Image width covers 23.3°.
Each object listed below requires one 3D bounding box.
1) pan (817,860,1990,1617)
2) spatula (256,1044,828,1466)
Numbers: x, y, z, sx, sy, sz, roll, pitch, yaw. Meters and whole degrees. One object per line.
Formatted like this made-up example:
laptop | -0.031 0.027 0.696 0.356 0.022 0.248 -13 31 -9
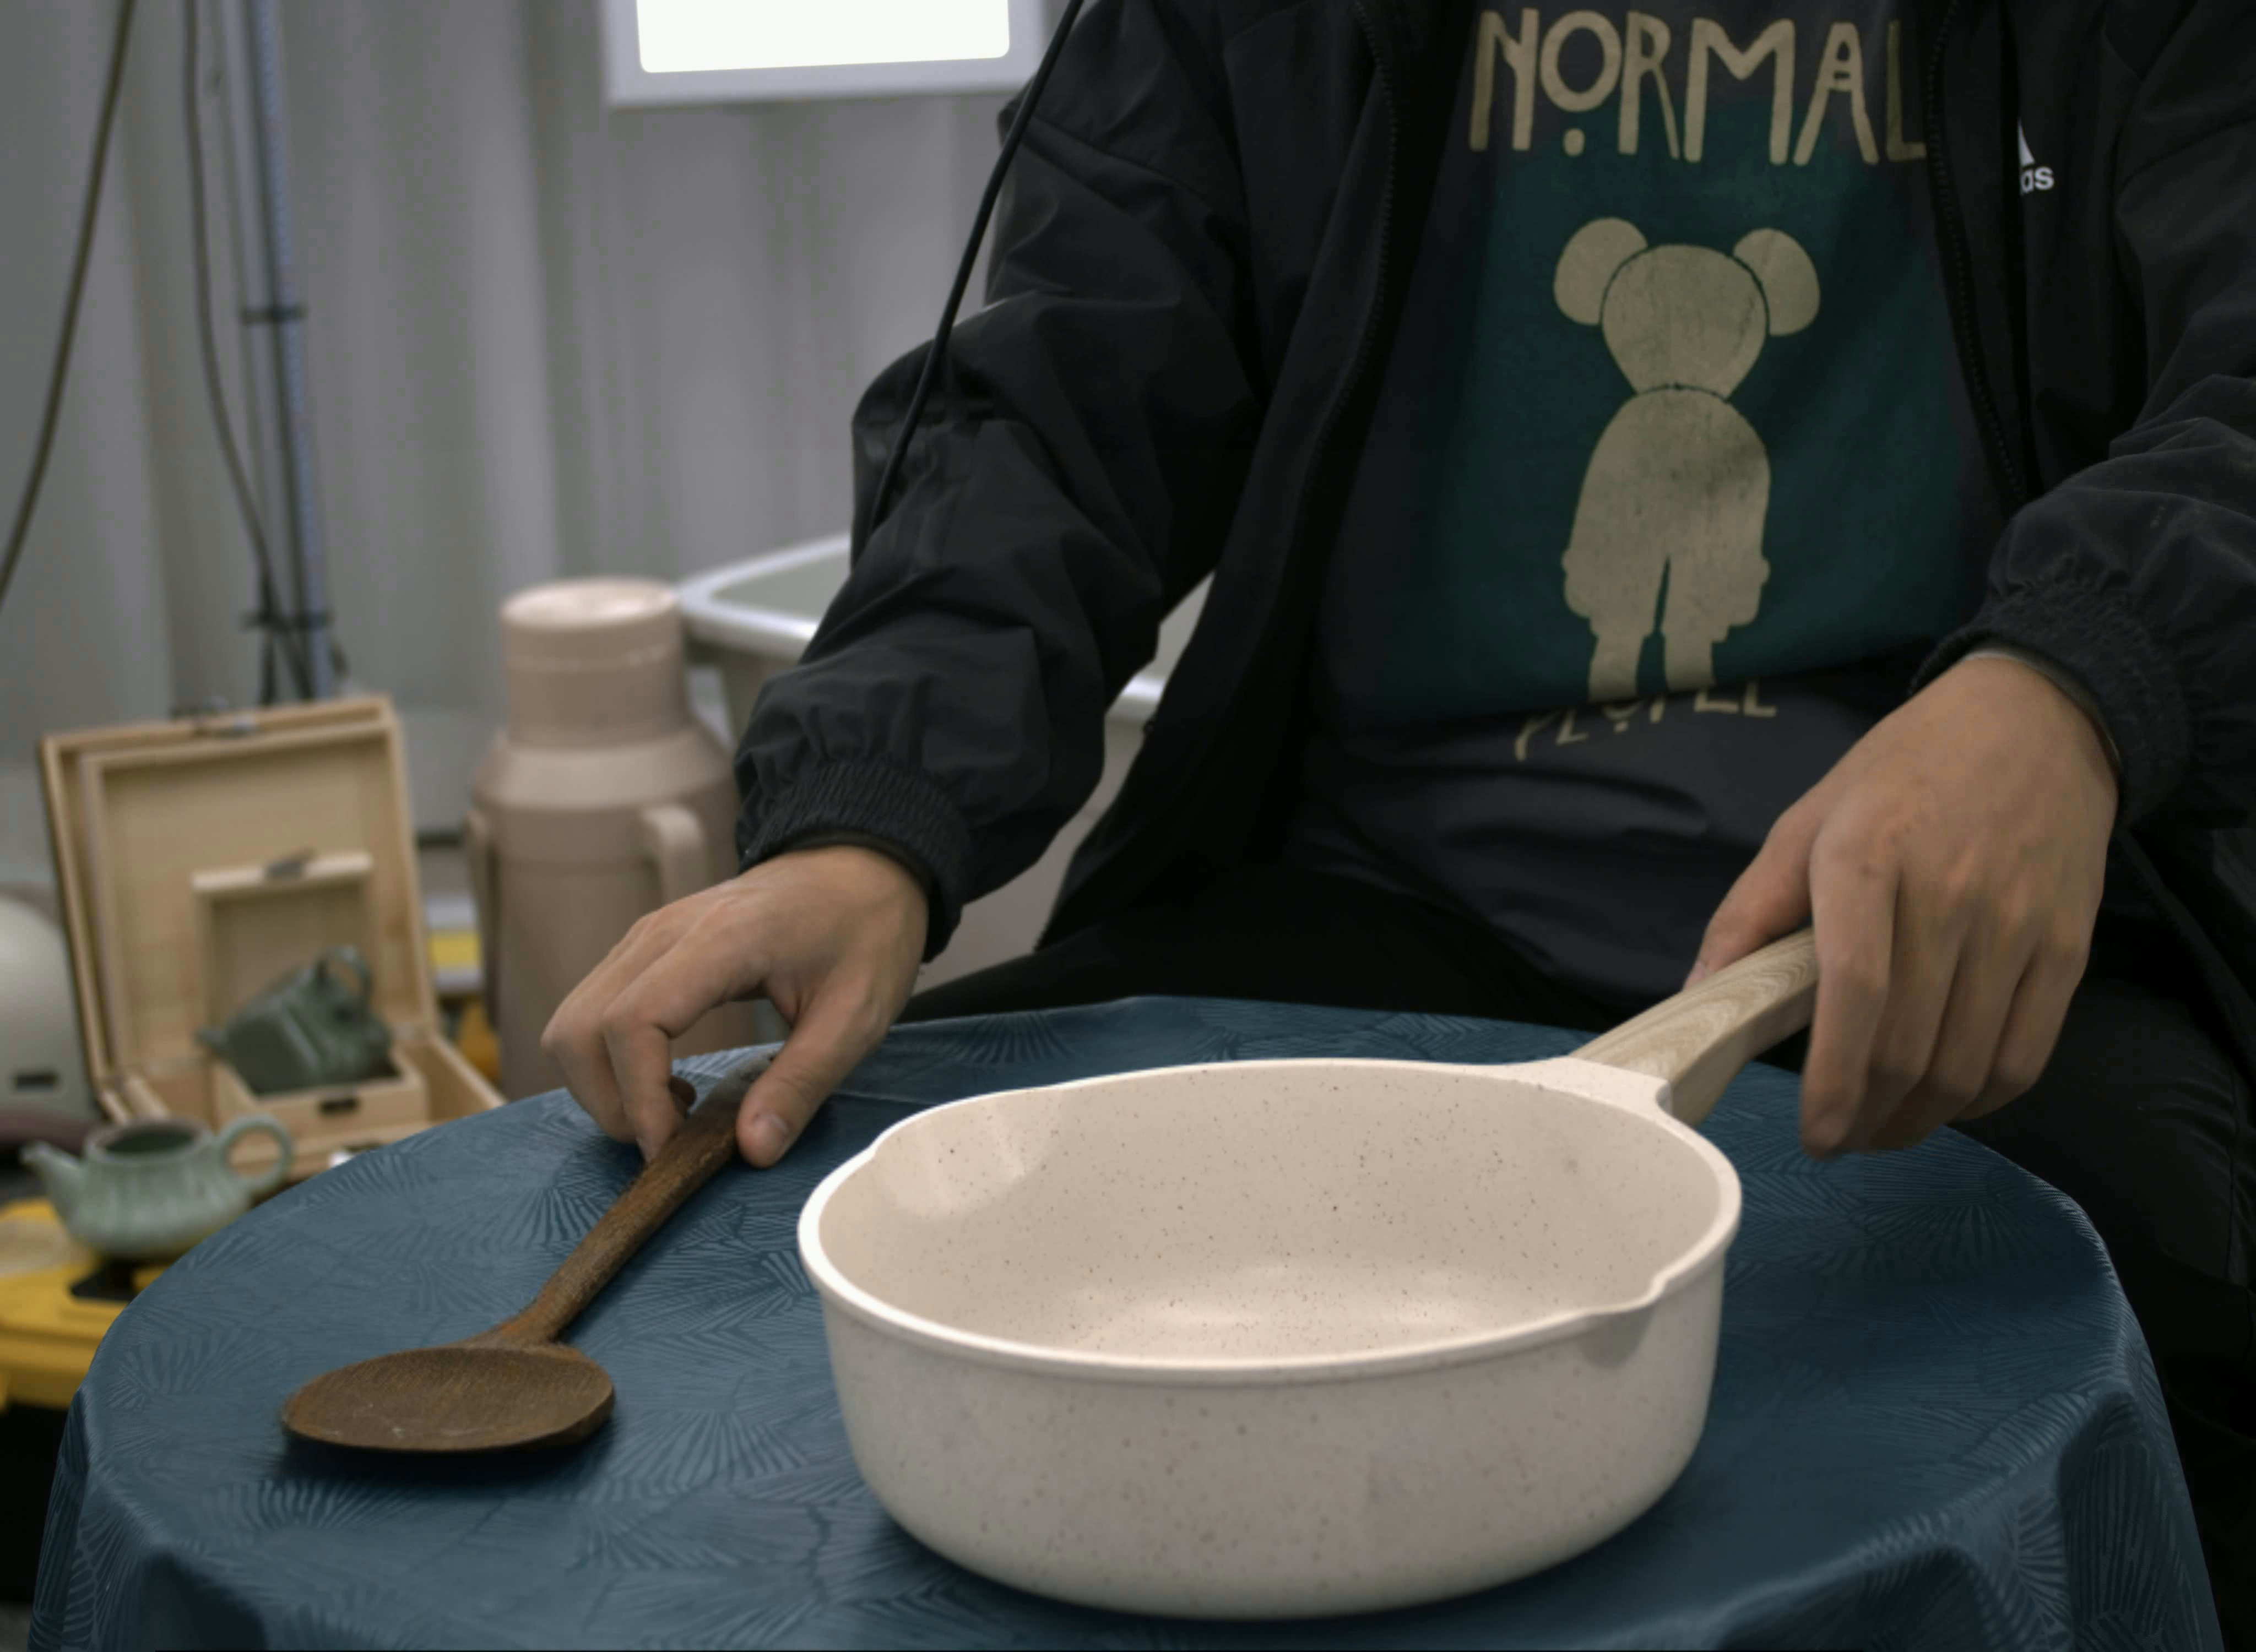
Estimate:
pan | 0.108 0.109 1.517 0.264 0.101 0.434 9 20 44
spatula | -0.157 0.125 1.677 0.096 0.016 0.387 2 15 14
